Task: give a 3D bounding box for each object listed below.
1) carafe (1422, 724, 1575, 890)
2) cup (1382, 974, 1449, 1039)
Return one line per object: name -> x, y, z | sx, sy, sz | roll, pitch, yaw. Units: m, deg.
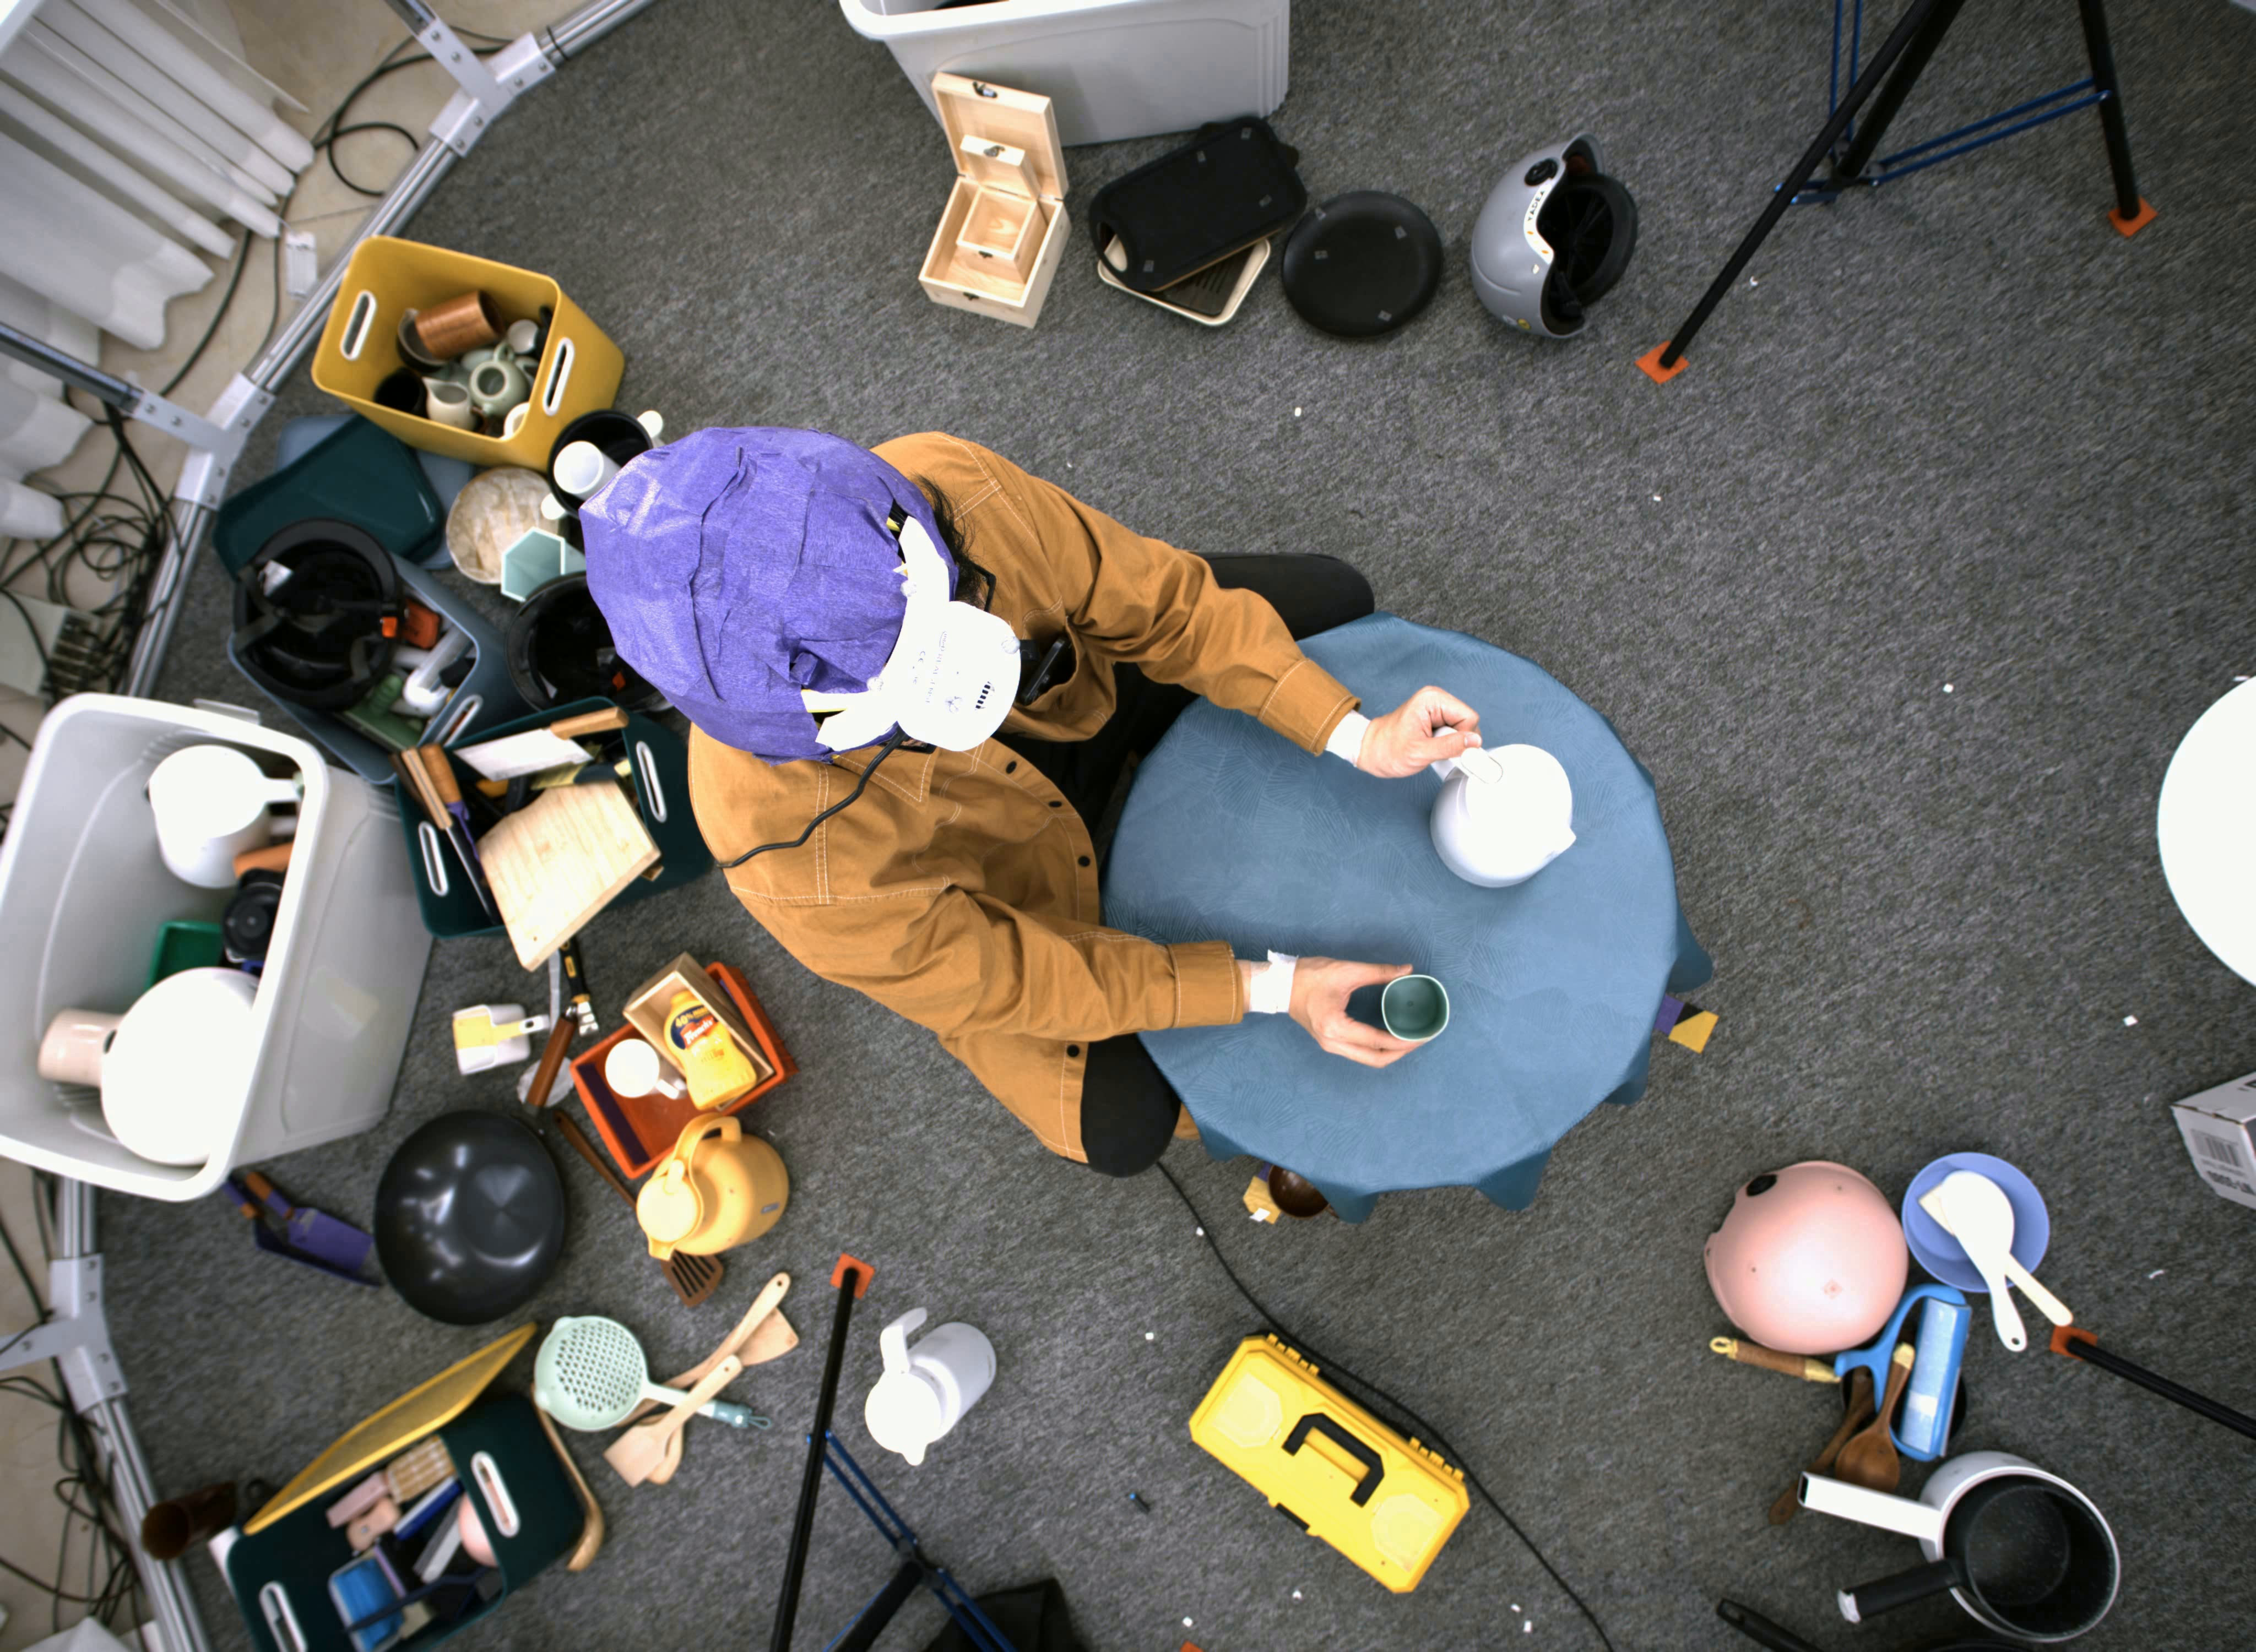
carafe -> 0.350, -0.028, 1.327 | 0.133, 0.249, 0.167 | -45, 78, 2
cup -> 0.286, 0.178, 1.388 | 0.067, 0.132, 0.066 | -1, 85, 10
